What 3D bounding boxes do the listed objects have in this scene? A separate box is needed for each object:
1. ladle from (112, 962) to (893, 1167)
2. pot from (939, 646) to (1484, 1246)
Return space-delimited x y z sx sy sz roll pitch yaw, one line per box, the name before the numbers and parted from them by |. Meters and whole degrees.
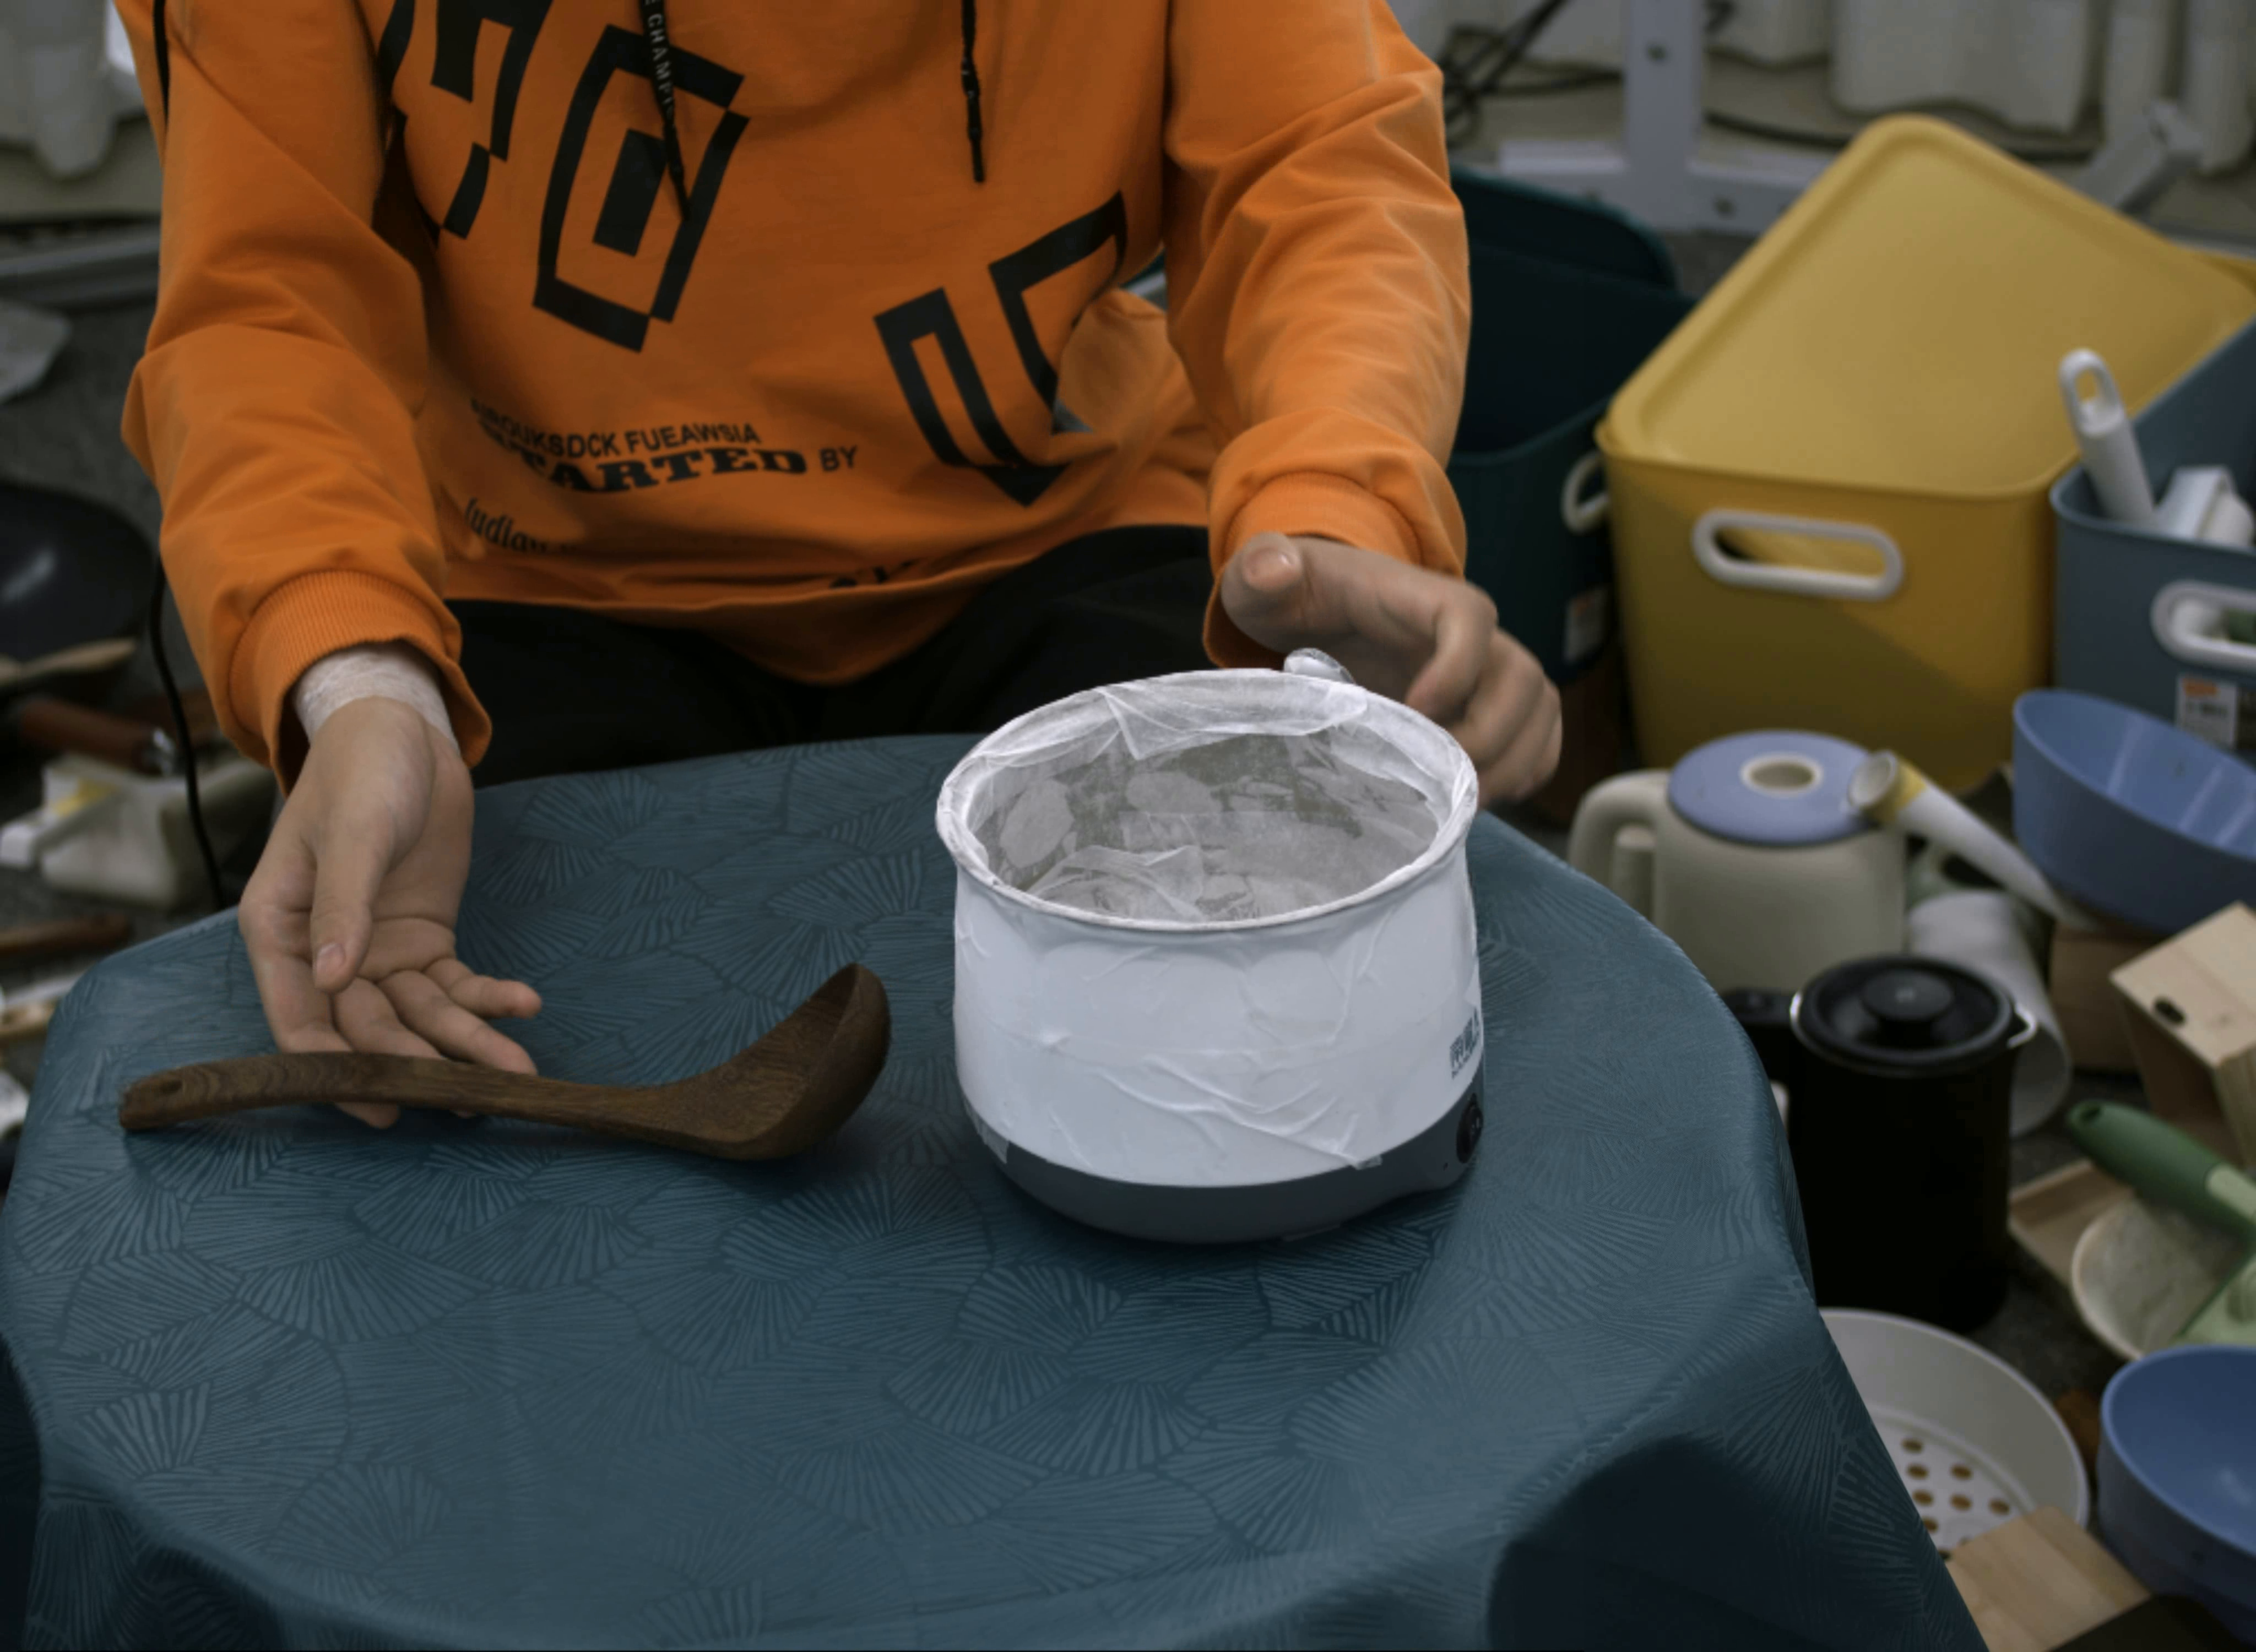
ladle | -0.213 0.075 1.895 0.272 0.070 0.077 3 30 8
pot | 0.038 0.032 1.883 0.177 0.135 0.238 7 29 18
